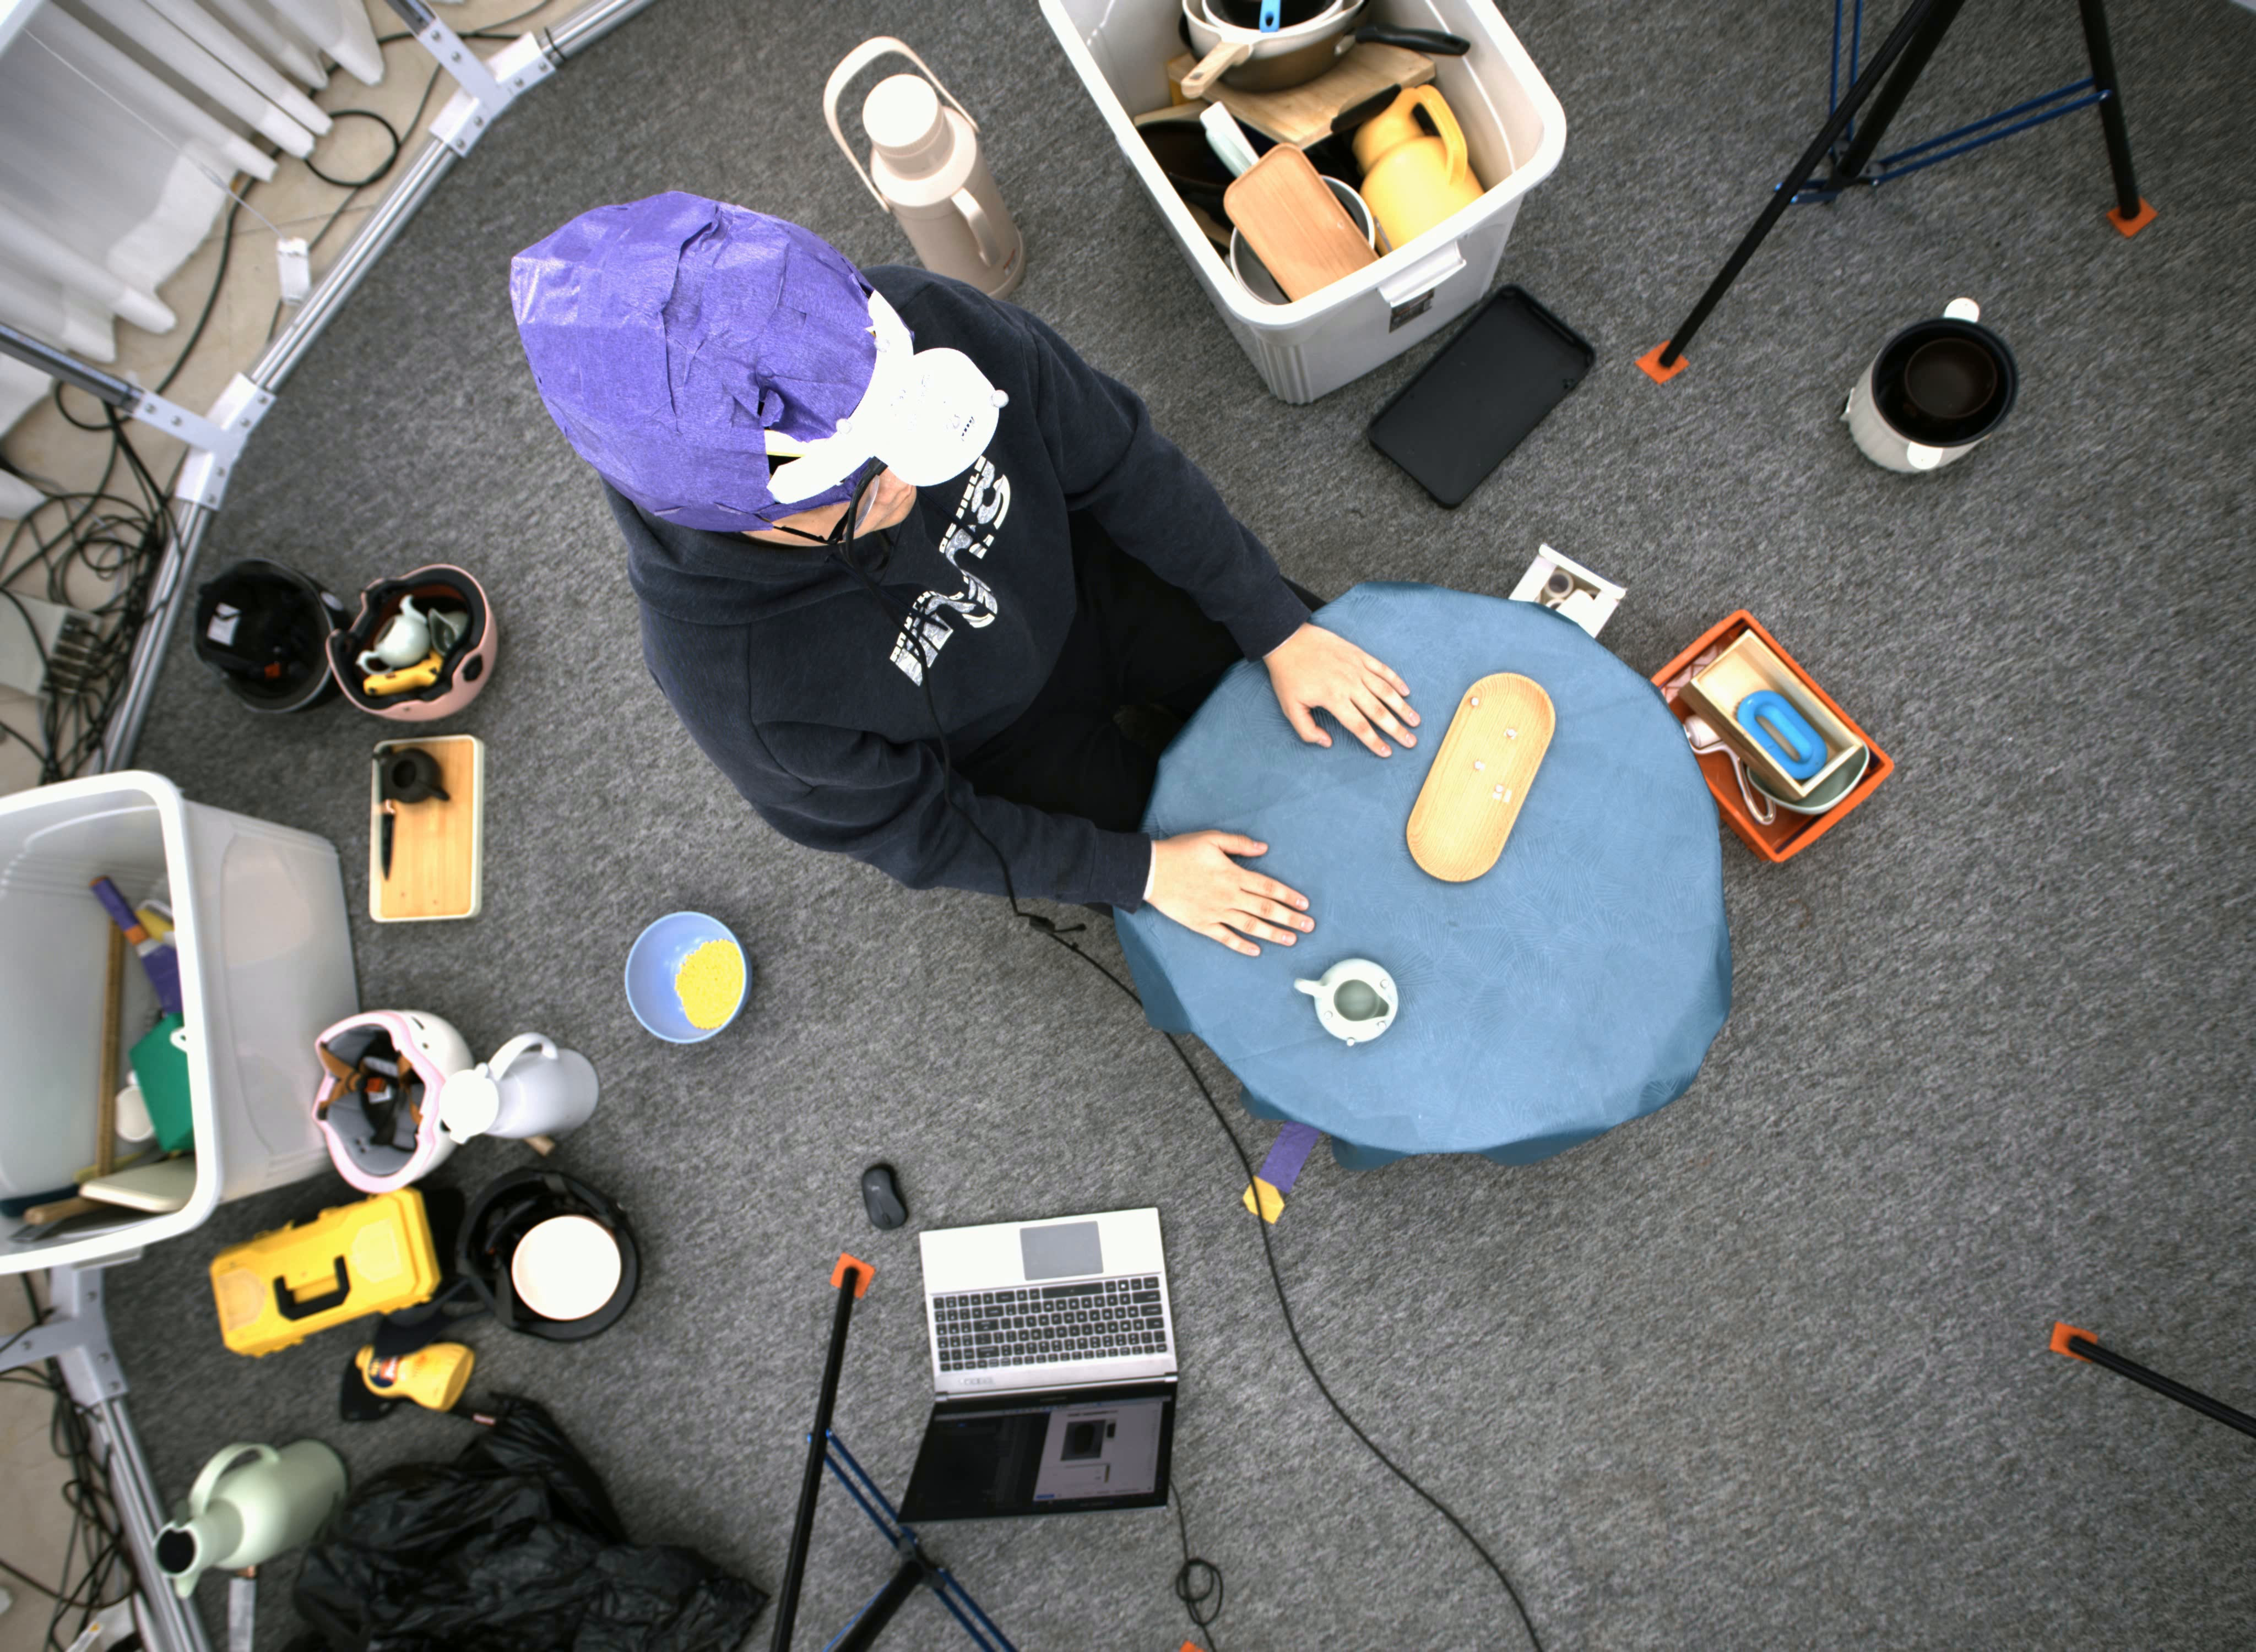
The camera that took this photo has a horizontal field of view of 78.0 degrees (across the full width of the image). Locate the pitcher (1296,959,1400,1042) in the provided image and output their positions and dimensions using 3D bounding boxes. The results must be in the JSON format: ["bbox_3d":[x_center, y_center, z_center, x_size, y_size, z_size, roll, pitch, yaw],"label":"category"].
[{"bbox_3d":[0.227,0.177,1.435,0.108,0.060,0.086,13,87,13],"label":"pitcher"}]

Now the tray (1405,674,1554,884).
[{"bbox_3d":[0.369,-0.051,1.441,0.101,0.020,0.231,24,93,13],"label":"tray"}]
